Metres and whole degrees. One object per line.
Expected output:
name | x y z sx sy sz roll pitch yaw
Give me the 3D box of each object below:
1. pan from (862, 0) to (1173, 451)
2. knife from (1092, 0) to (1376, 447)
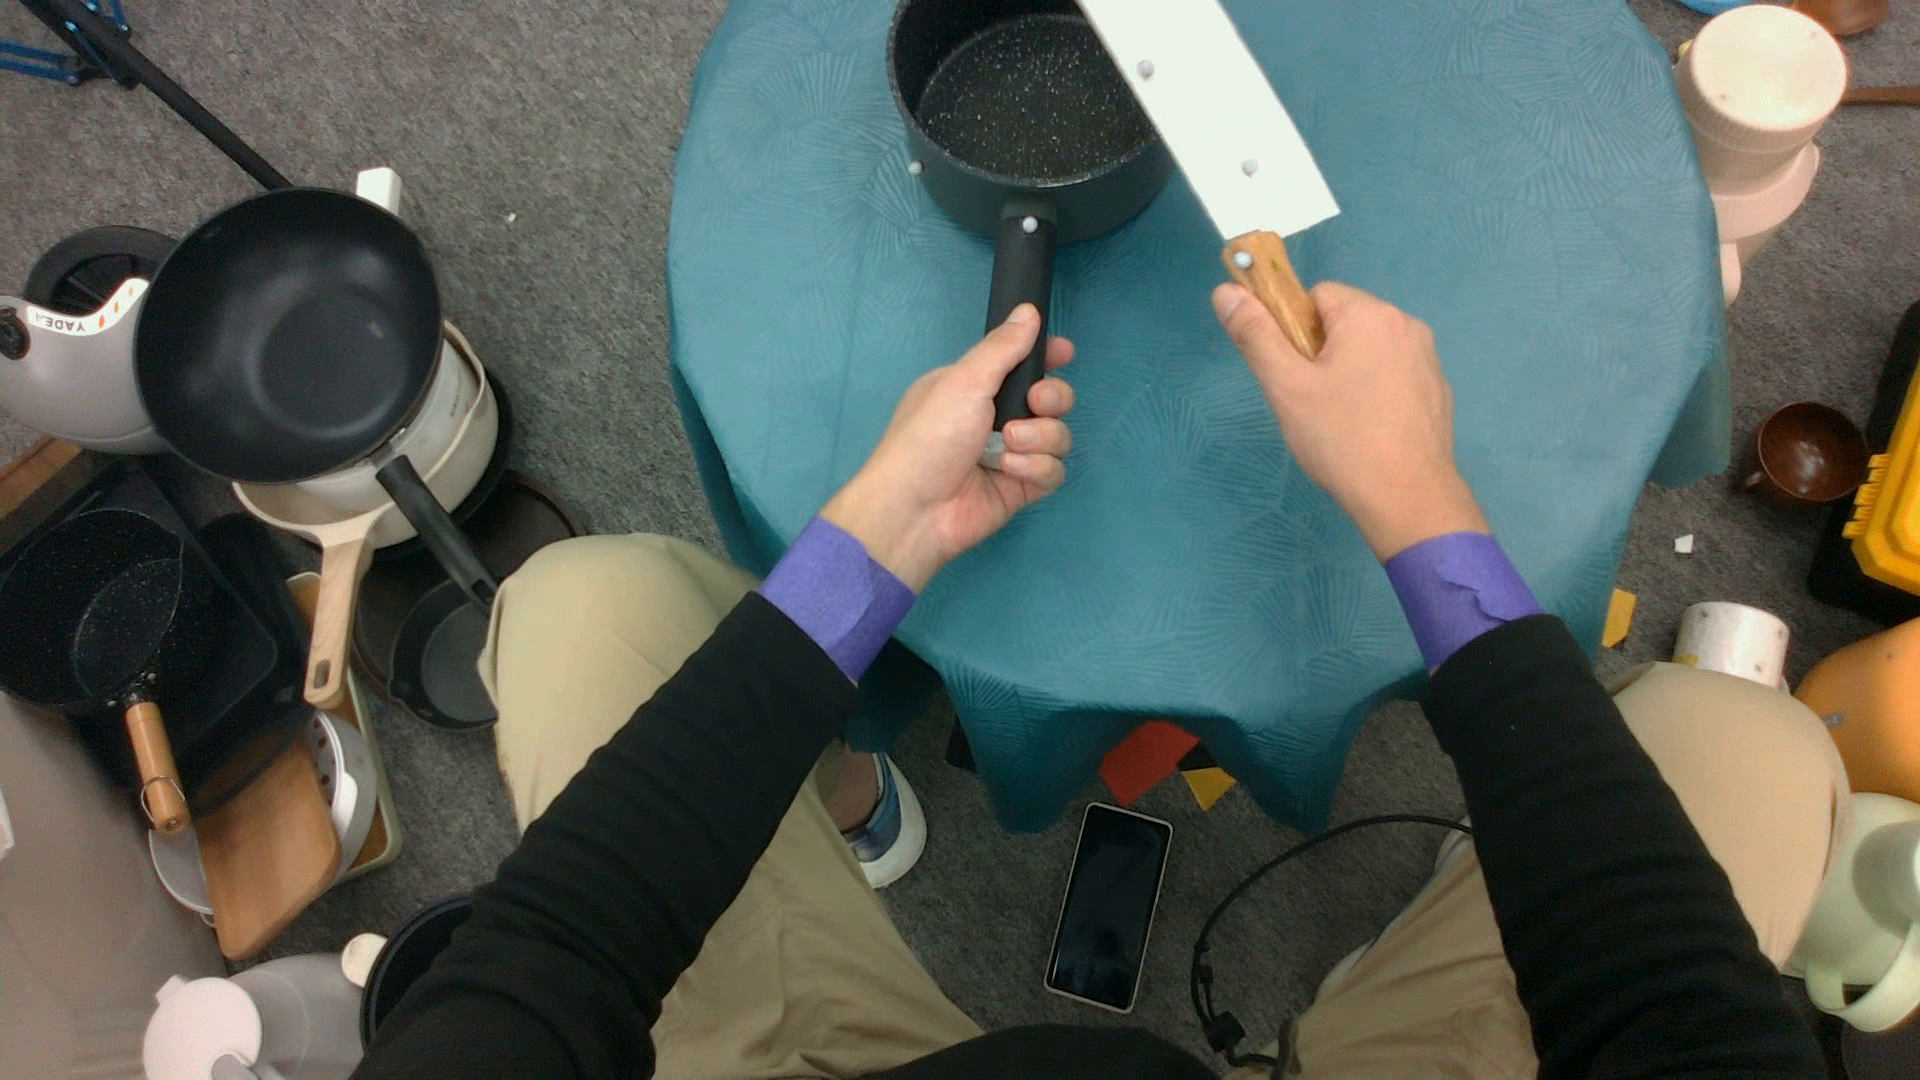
pan | 0.025 -0.191 0.761 0.172 0.086 0.329 6 71 6
knife | 0.138 -0.194 0.688 0.093 0.021 0.306 -27 89 -36
